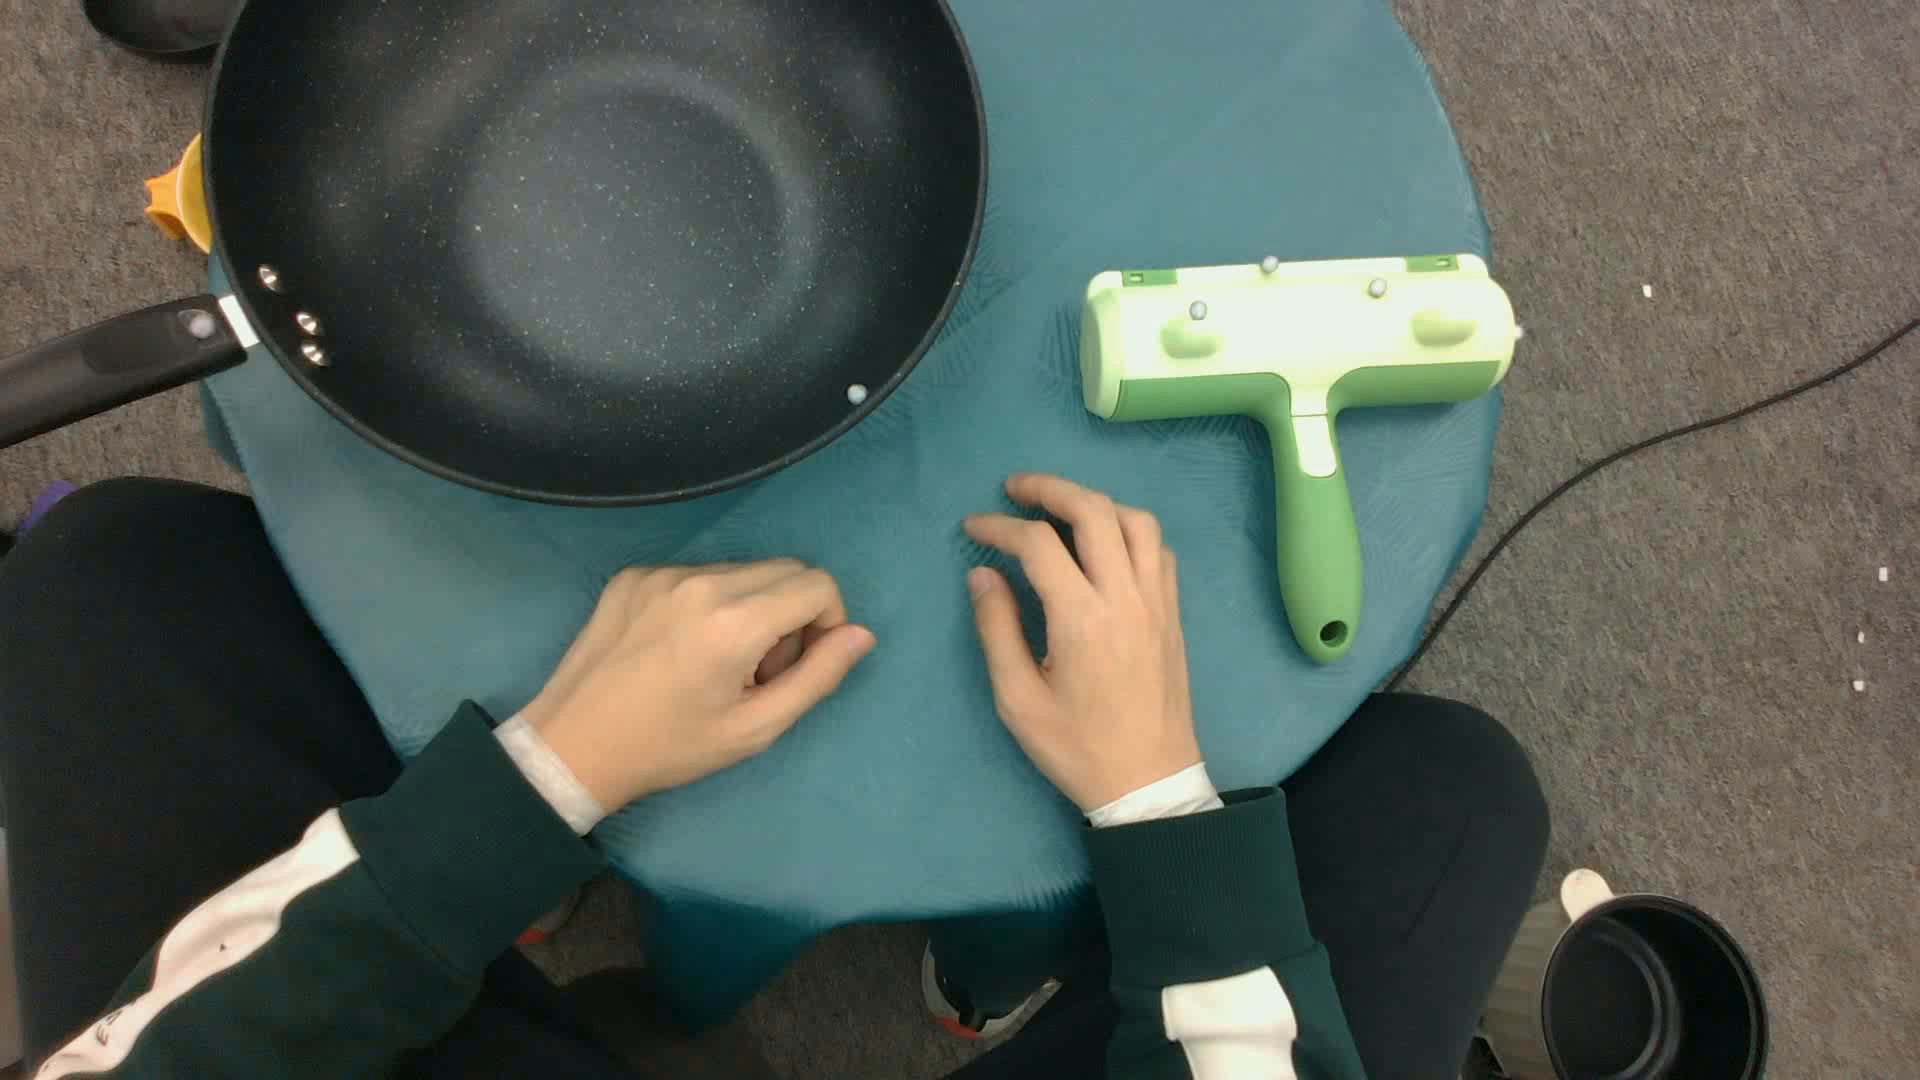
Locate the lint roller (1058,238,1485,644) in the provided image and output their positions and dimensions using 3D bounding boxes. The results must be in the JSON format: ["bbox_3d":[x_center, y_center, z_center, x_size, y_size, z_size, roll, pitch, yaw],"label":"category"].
[{"bbox_3d":[0.153,-0.049,0.620,0.199,0.082,0.184,-5,72,-10],"label":"lint roller"}]

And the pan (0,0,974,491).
[{"bbox_3d":[-0.219,-0.118,0.567,0.478,0.111,0.310,-33,82,-15],"label":"pan"}]
